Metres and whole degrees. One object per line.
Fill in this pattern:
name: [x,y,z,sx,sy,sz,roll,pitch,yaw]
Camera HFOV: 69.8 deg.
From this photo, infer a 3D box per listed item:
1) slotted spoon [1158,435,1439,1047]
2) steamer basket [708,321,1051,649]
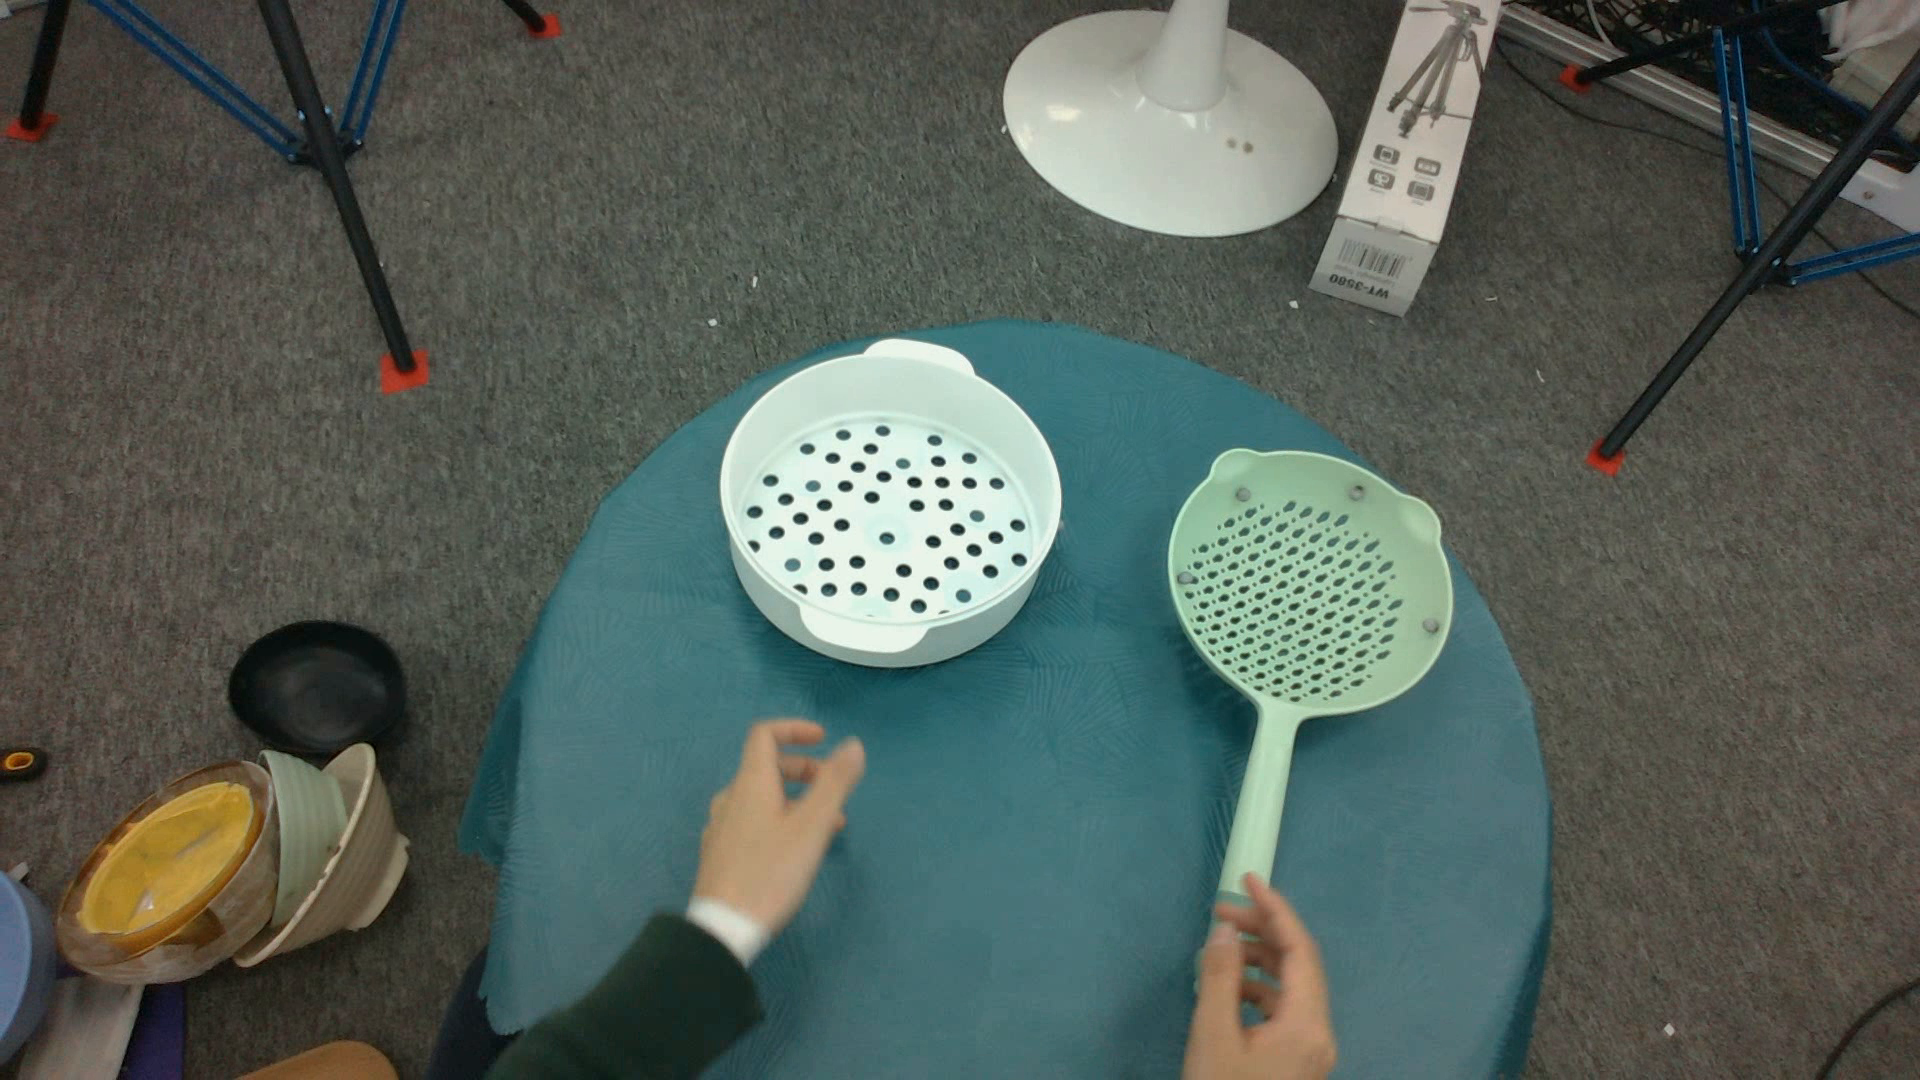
slotted spoon: [0.171,0.101,0.779,0.169,0.075,0.360,17,55,4]
steamer basket: [-0.049,-0.029,0.835,0.202,0.069,0.231,9,55,-1]
